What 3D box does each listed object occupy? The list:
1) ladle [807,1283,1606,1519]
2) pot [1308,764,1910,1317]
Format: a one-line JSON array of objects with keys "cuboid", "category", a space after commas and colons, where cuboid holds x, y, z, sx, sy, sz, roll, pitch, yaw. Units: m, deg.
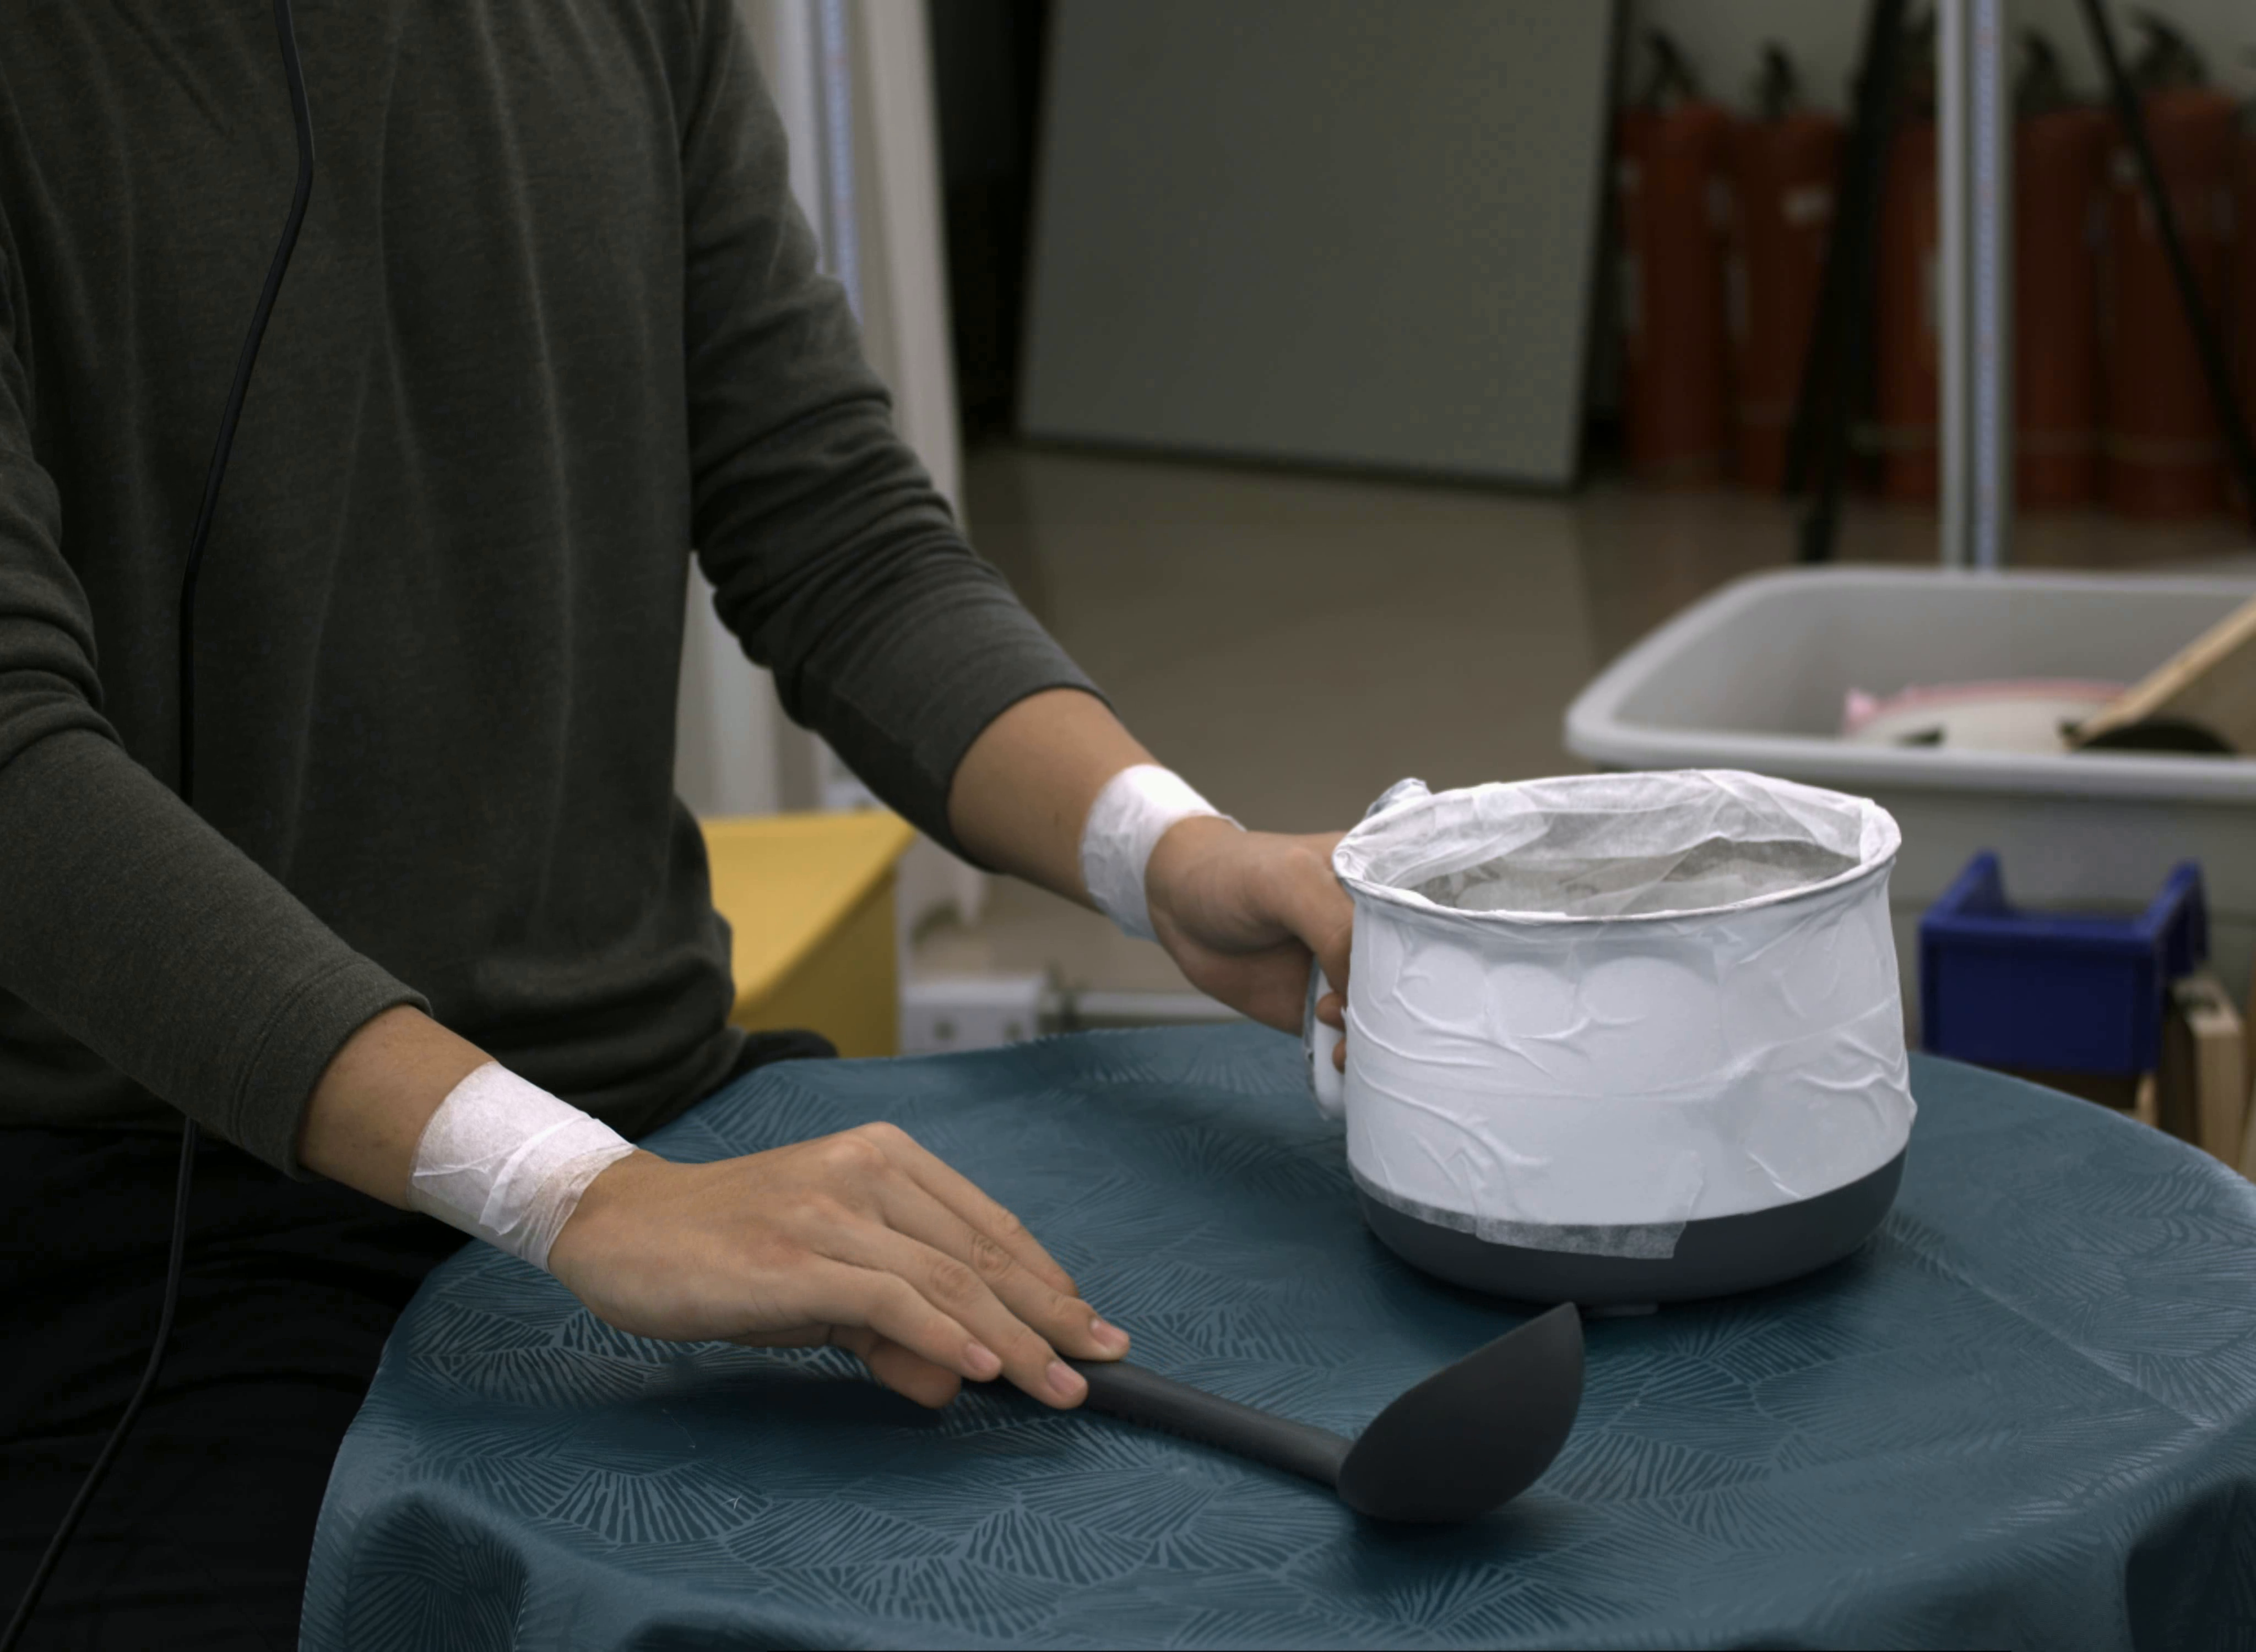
[{"cuboid": [0.008, 0.143, 1.547, 0.084, 0.065, 0.317, -12, 15, -40], "category": "ladle"}, {"cuboid": [0.137, 0.061, 1.692, 0.175, 0.138, 0.236, -13, 16, -36], "category": "pot"}]
